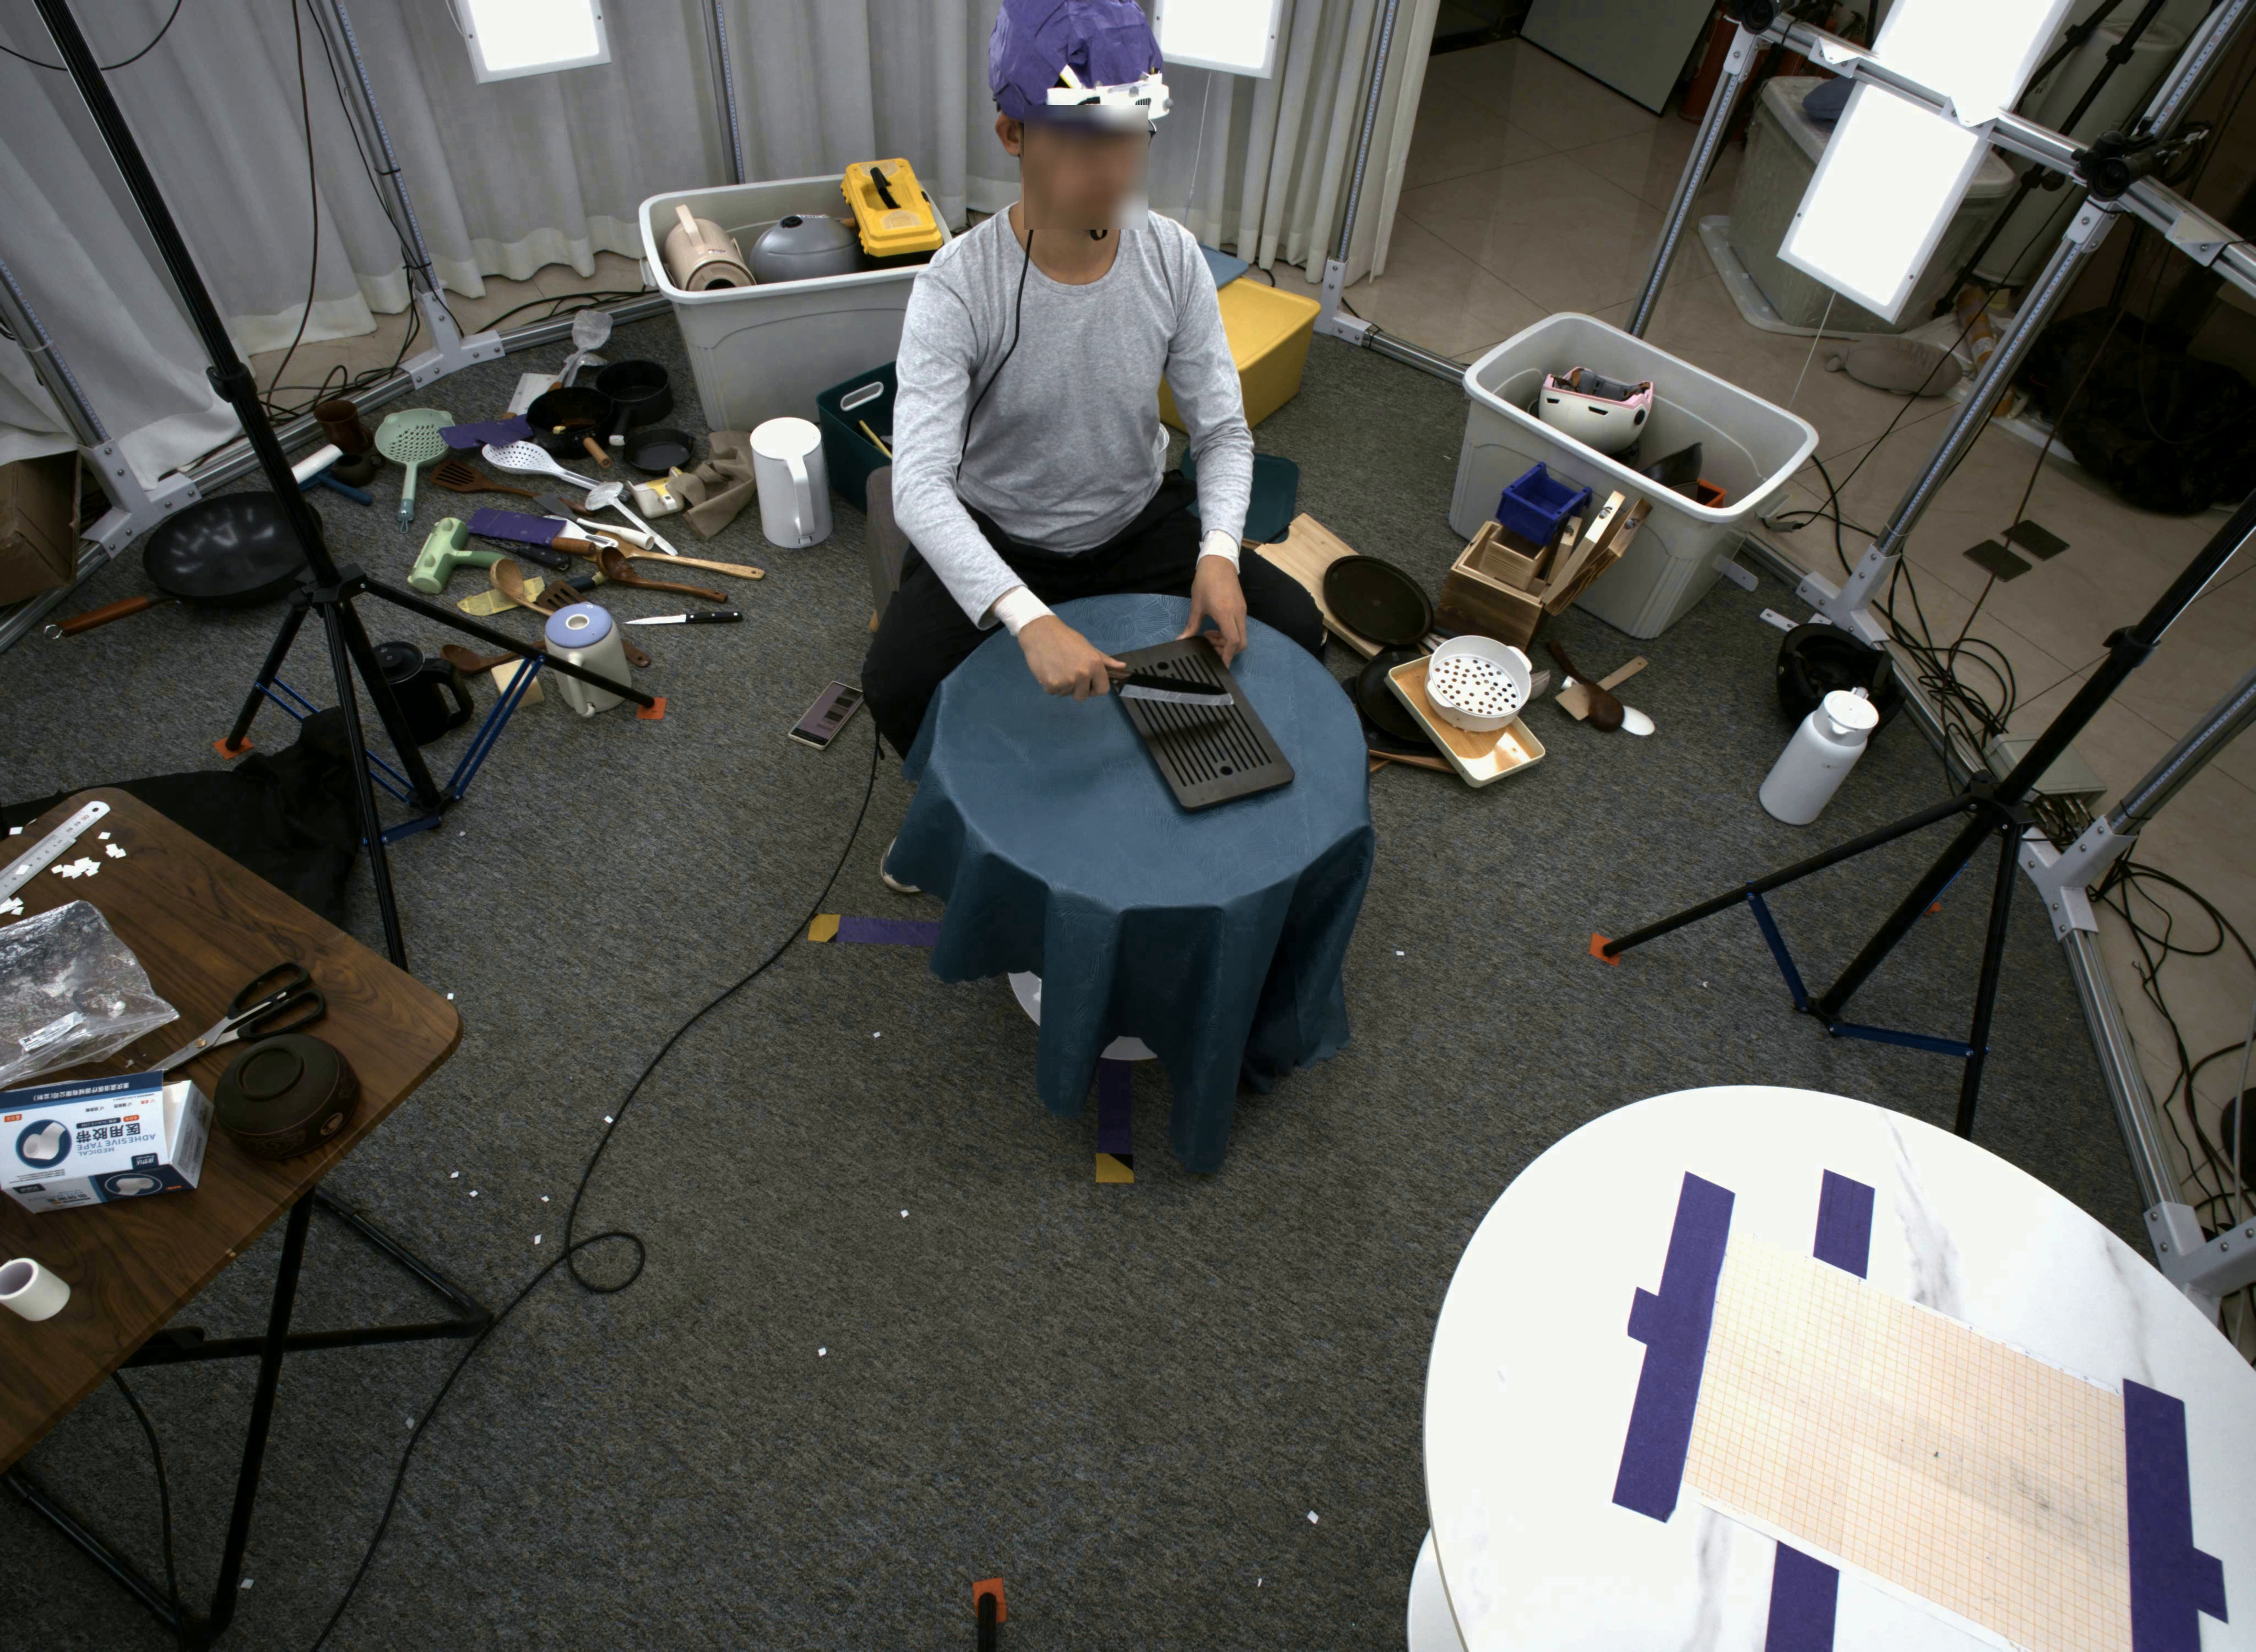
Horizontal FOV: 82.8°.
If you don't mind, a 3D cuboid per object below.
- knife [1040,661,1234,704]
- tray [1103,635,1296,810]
[{"bbox_3d":[0.016,-0.191,1.726,0.287,0.049,0.020,7,50,-22],"label":"knife"},{"bbox_3d":[0.095,-0.149,1.792,0.170,0.018,0.313,-15,51,-16],"label":"tray"}]
